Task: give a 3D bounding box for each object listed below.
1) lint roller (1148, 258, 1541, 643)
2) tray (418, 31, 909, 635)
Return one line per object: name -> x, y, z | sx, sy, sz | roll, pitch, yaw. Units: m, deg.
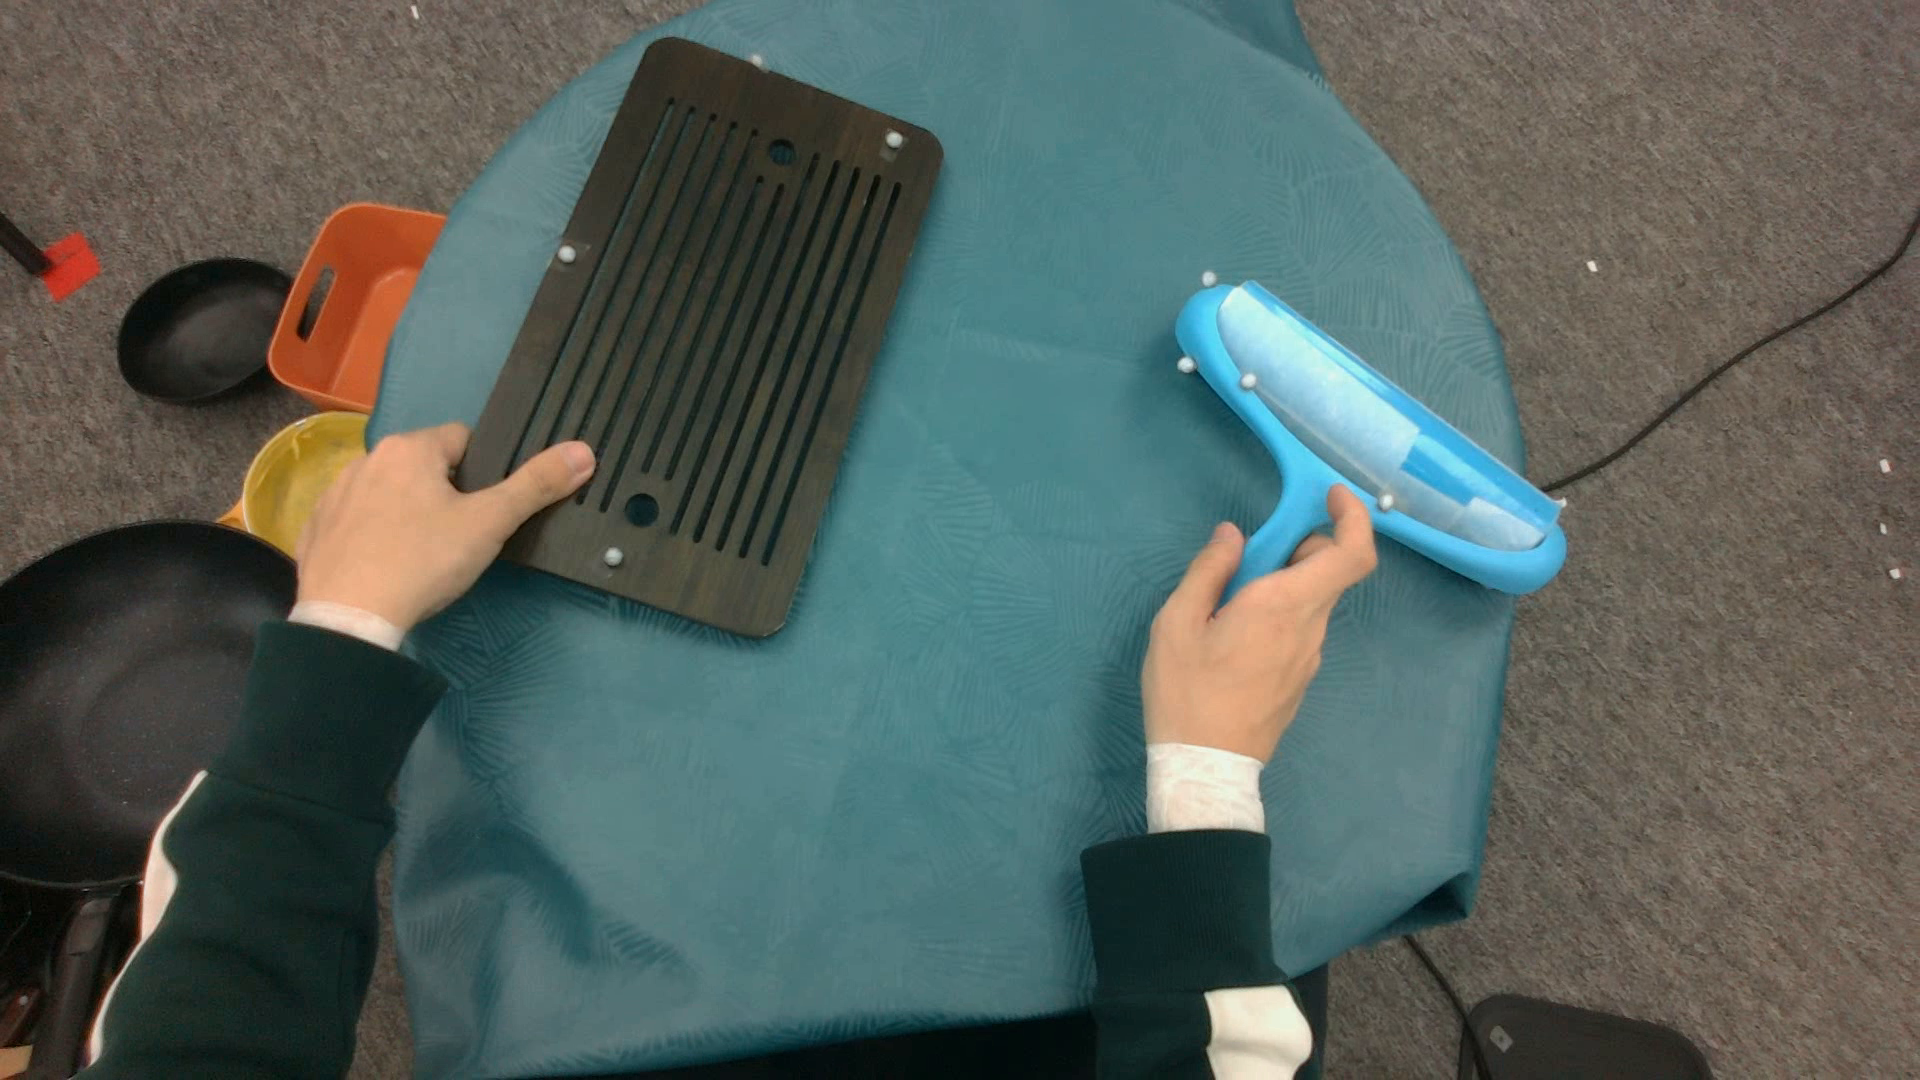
lint roller -> 0.163, -0.026, 0.689 | 0.229, 0.067, 0.181 | 35, 70, 6
tray -> -0.142, -0.113, 0.707 | 0.170, 0.018, 0.307 | 17, 70, -8
